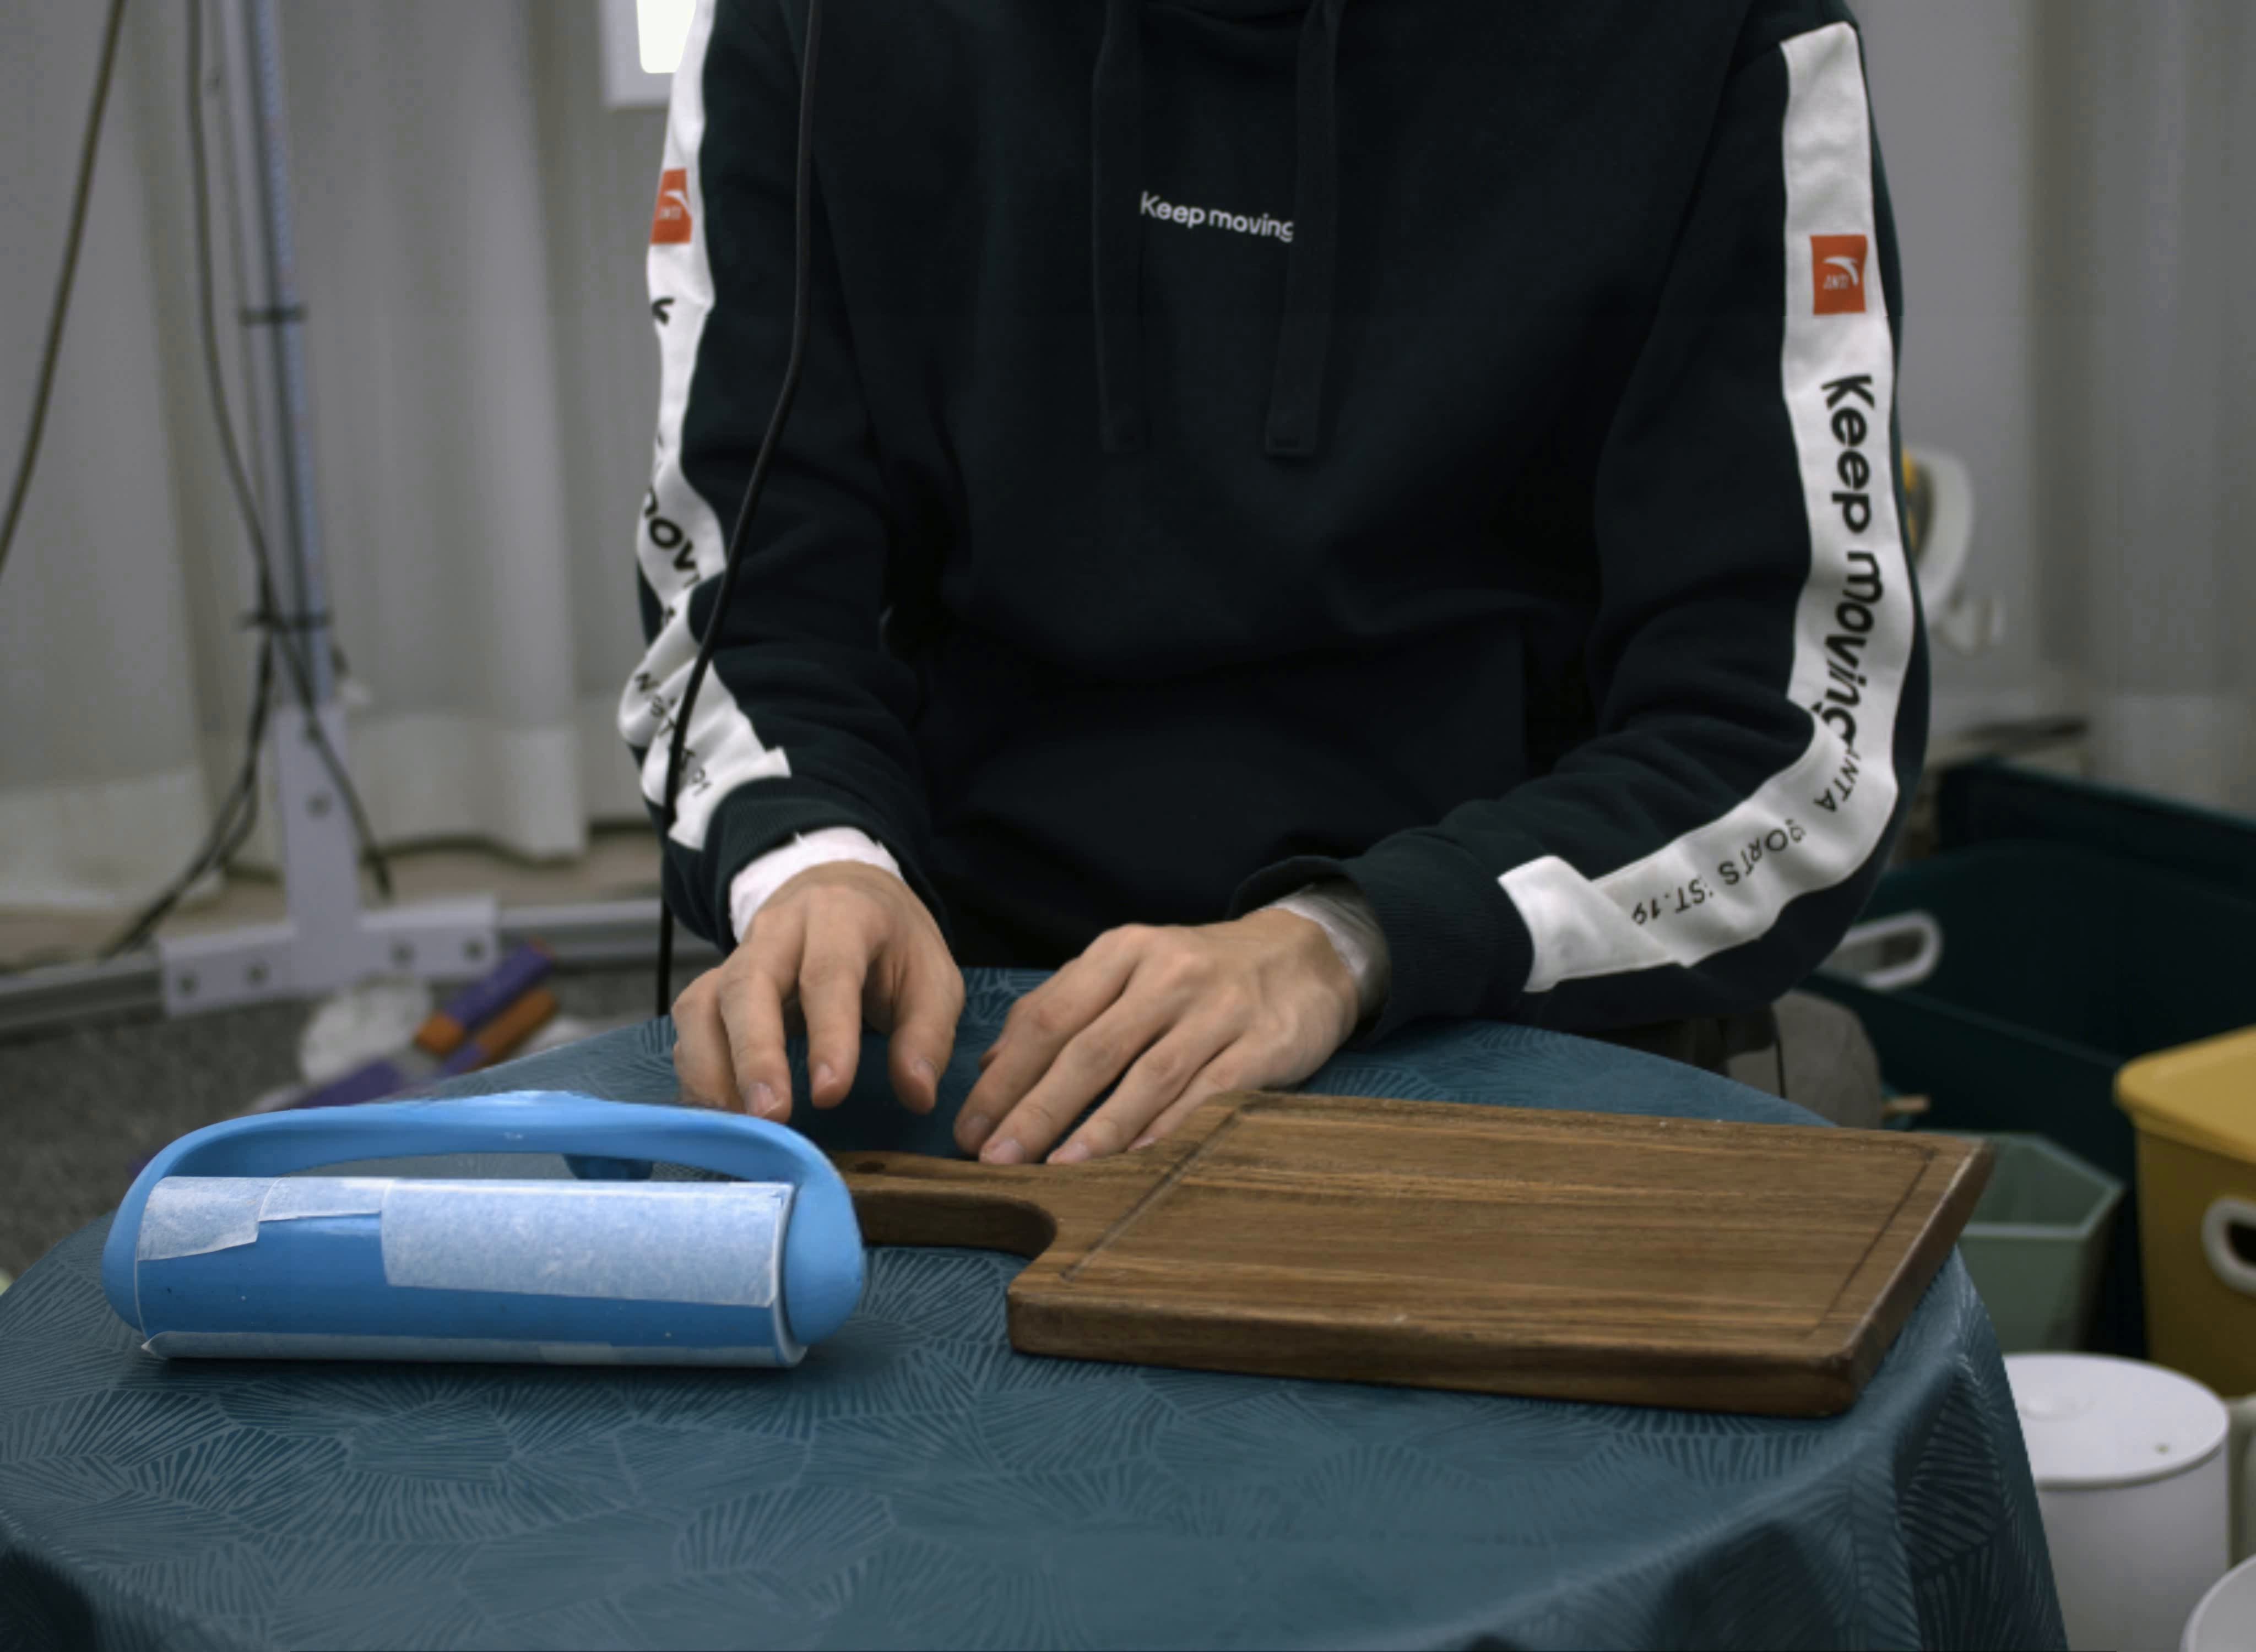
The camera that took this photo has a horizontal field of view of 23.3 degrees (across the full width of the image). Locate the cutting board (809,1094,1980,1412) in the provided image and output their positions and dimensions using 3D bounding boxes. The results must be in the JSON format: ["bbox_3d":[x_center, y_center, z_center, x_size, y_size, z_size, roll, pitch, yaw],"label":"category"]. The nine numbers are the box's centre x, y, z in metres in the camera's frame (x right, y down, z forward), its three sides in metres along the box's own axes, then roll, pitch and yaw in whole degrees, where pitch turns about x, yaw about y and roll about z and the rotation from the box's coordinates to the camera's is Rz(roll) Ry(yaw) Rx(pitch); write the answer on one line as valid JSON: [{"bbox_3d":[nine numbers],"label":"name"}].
[{"bbox_3d":[0.066,0.121,1.635,0.352,0.023,0.201,2,15,20],"label":"cutting board"}]

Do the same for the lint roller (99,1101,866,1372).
[{"bbox_3d":[-0.181,0.113,1.647,0.228,0.067,0.181,-2,16,8],"label":"lint roller"}]
